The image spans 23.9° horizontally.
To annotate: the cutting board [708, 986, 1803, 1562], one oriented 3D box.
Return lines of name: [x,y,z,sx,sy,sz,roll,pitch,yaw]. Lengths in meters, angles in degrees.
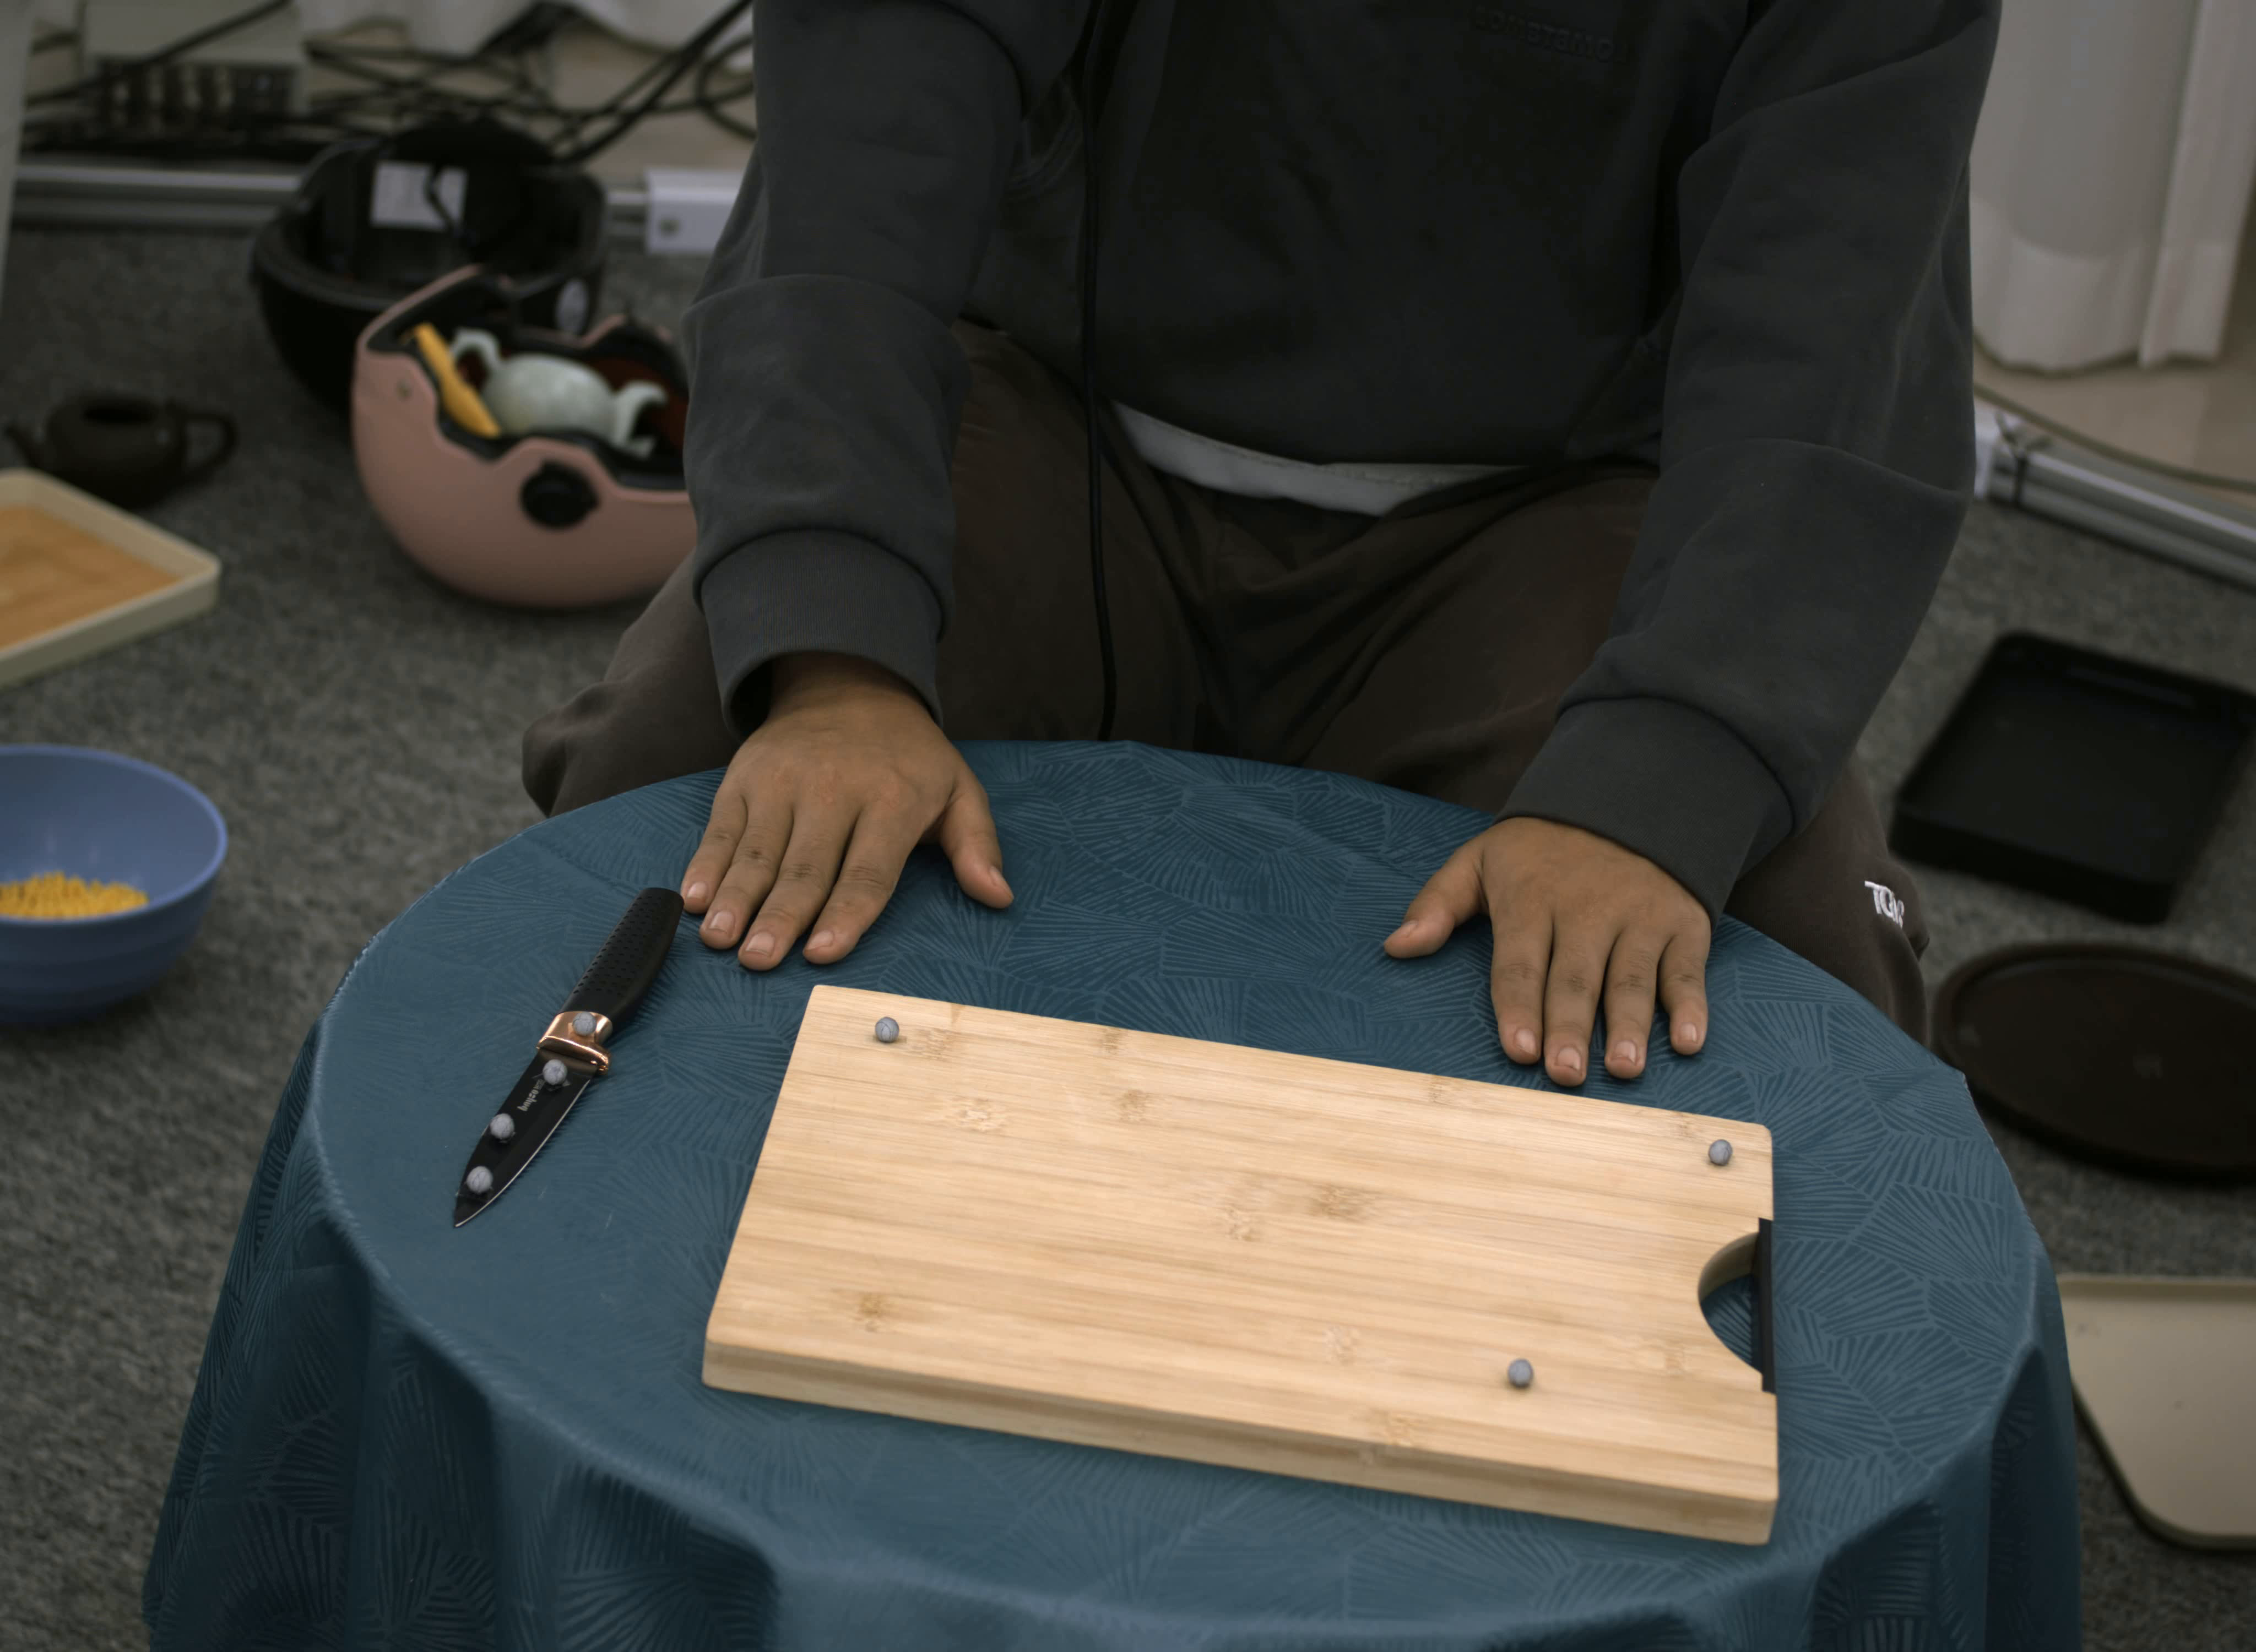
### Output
cutting board: [0.050,0.142,1.763,0.348,0.023,0.252,8,27,2]

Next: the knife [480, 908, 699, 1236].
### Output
knife: [-0.188,0.083,1.831,0.026,0.017,0.226,17,29,7]
